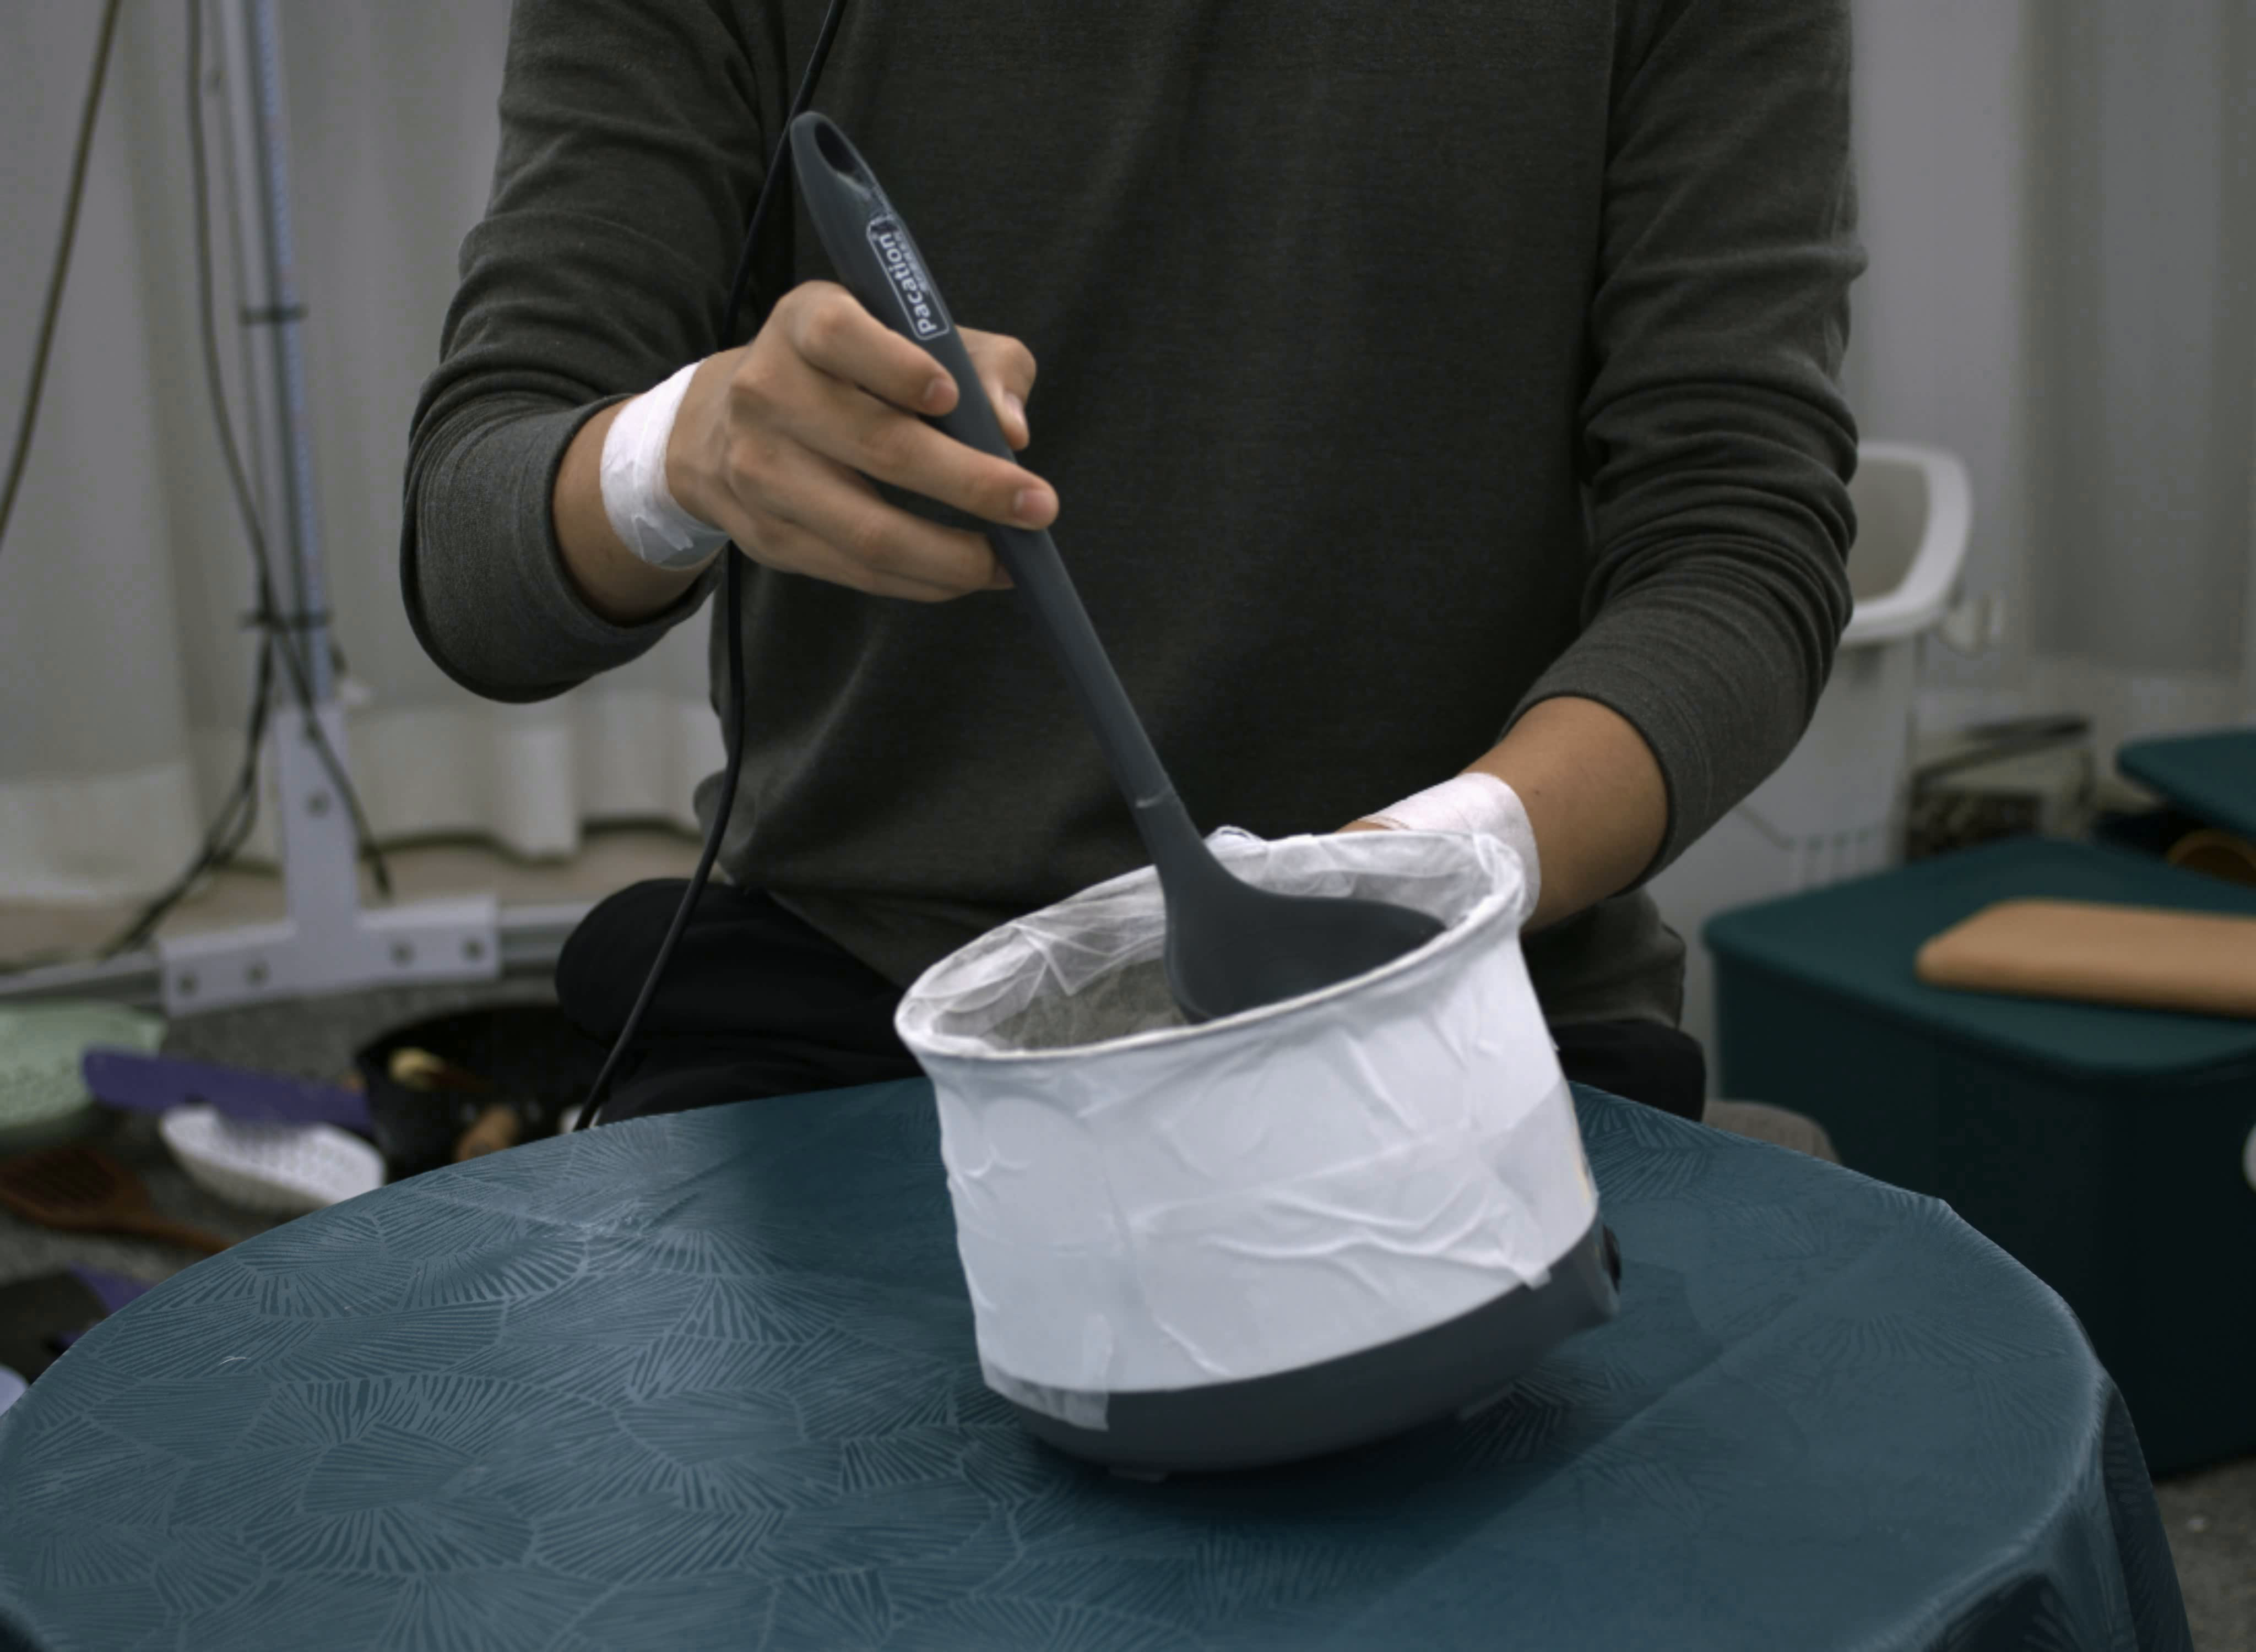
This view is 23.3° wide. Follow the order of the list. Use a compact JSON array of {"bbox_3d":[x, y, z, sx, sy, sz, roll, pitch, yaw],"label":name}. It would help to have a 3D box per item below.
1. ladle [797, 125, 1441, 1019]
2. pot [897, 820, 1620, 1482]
[{"bbox_3d":[-0.007,-0.069,1.527,0.086,0.316,0.063,-20,-10,-42],"label":"ladle"},{"bbox_3d":[0.038,0.082,1.529,0.178,0.136,0.235,-12,14,6],"label":"pot"}]
